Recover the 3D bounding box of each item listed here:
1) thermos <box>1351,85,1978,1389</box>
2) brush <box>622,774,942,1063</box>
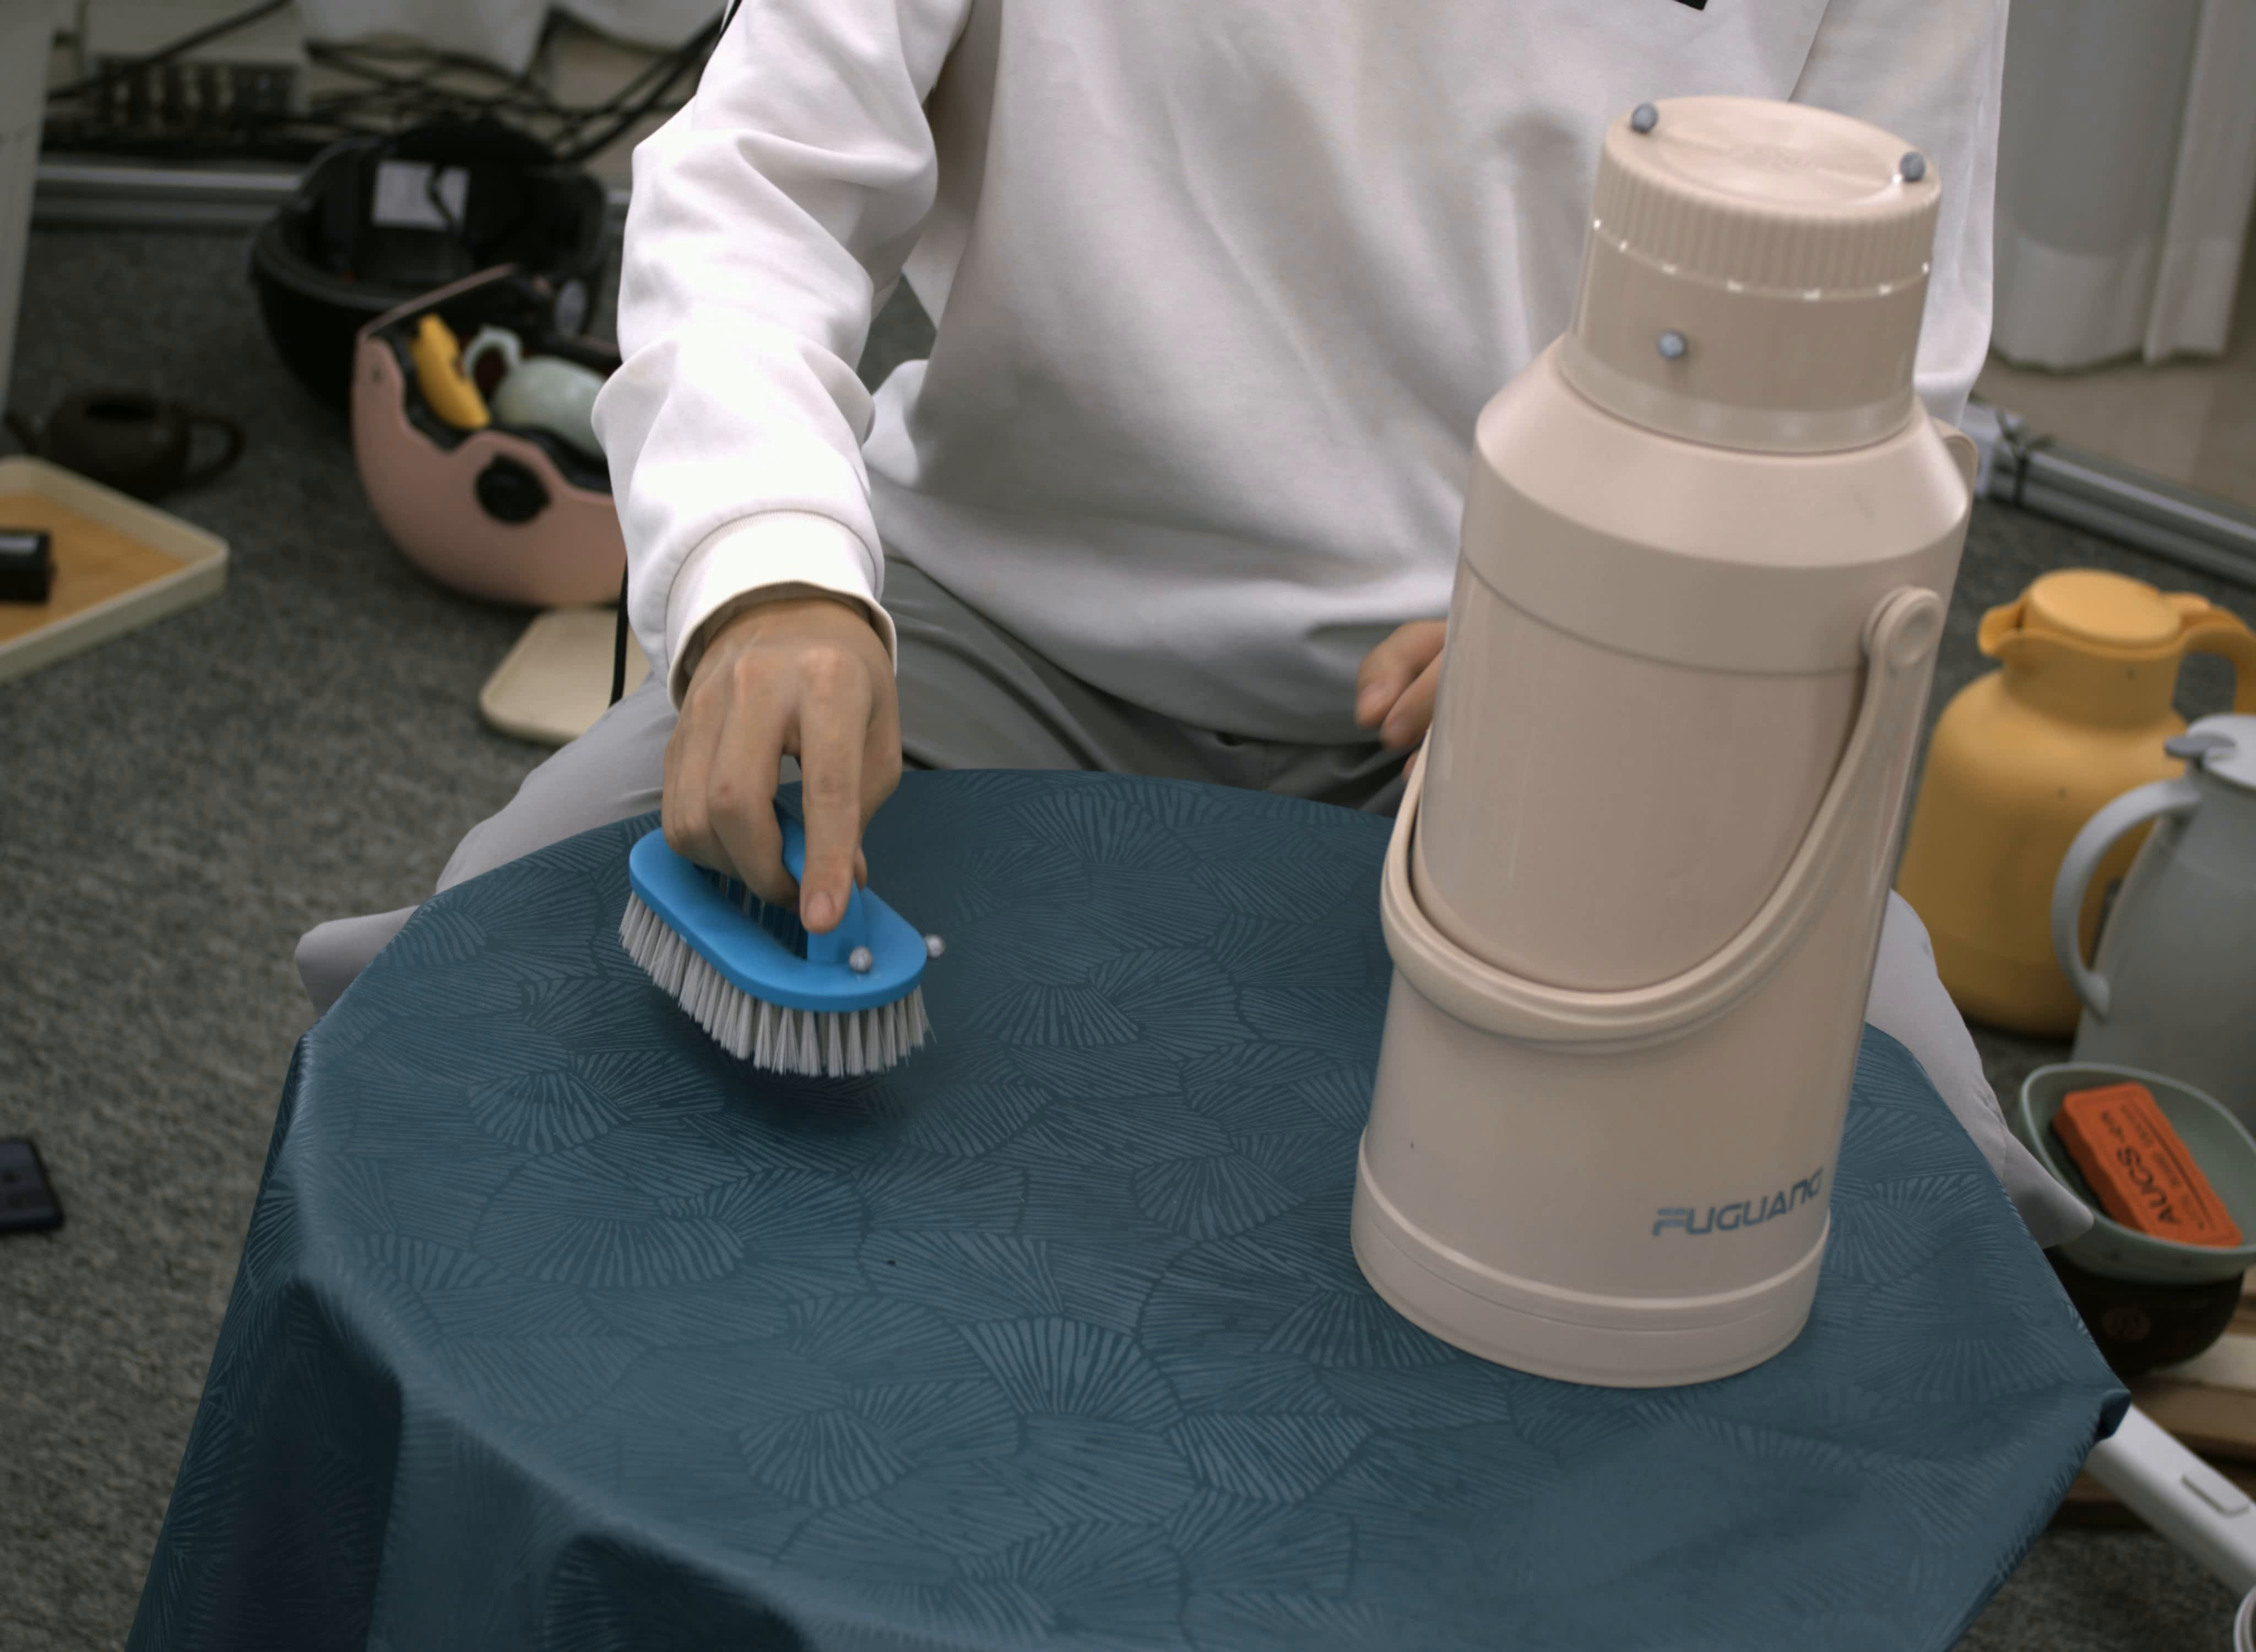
[{"bbox_3d":[0.187,-0.031,1.717,0.206,0.405,0.177,-16,33,-39],"label":"thermos"},{"bbox_3d":[-0.122,0.023,1.842,0.084,0.063,0.143,-13,31,-28],"label":"brush"}]
